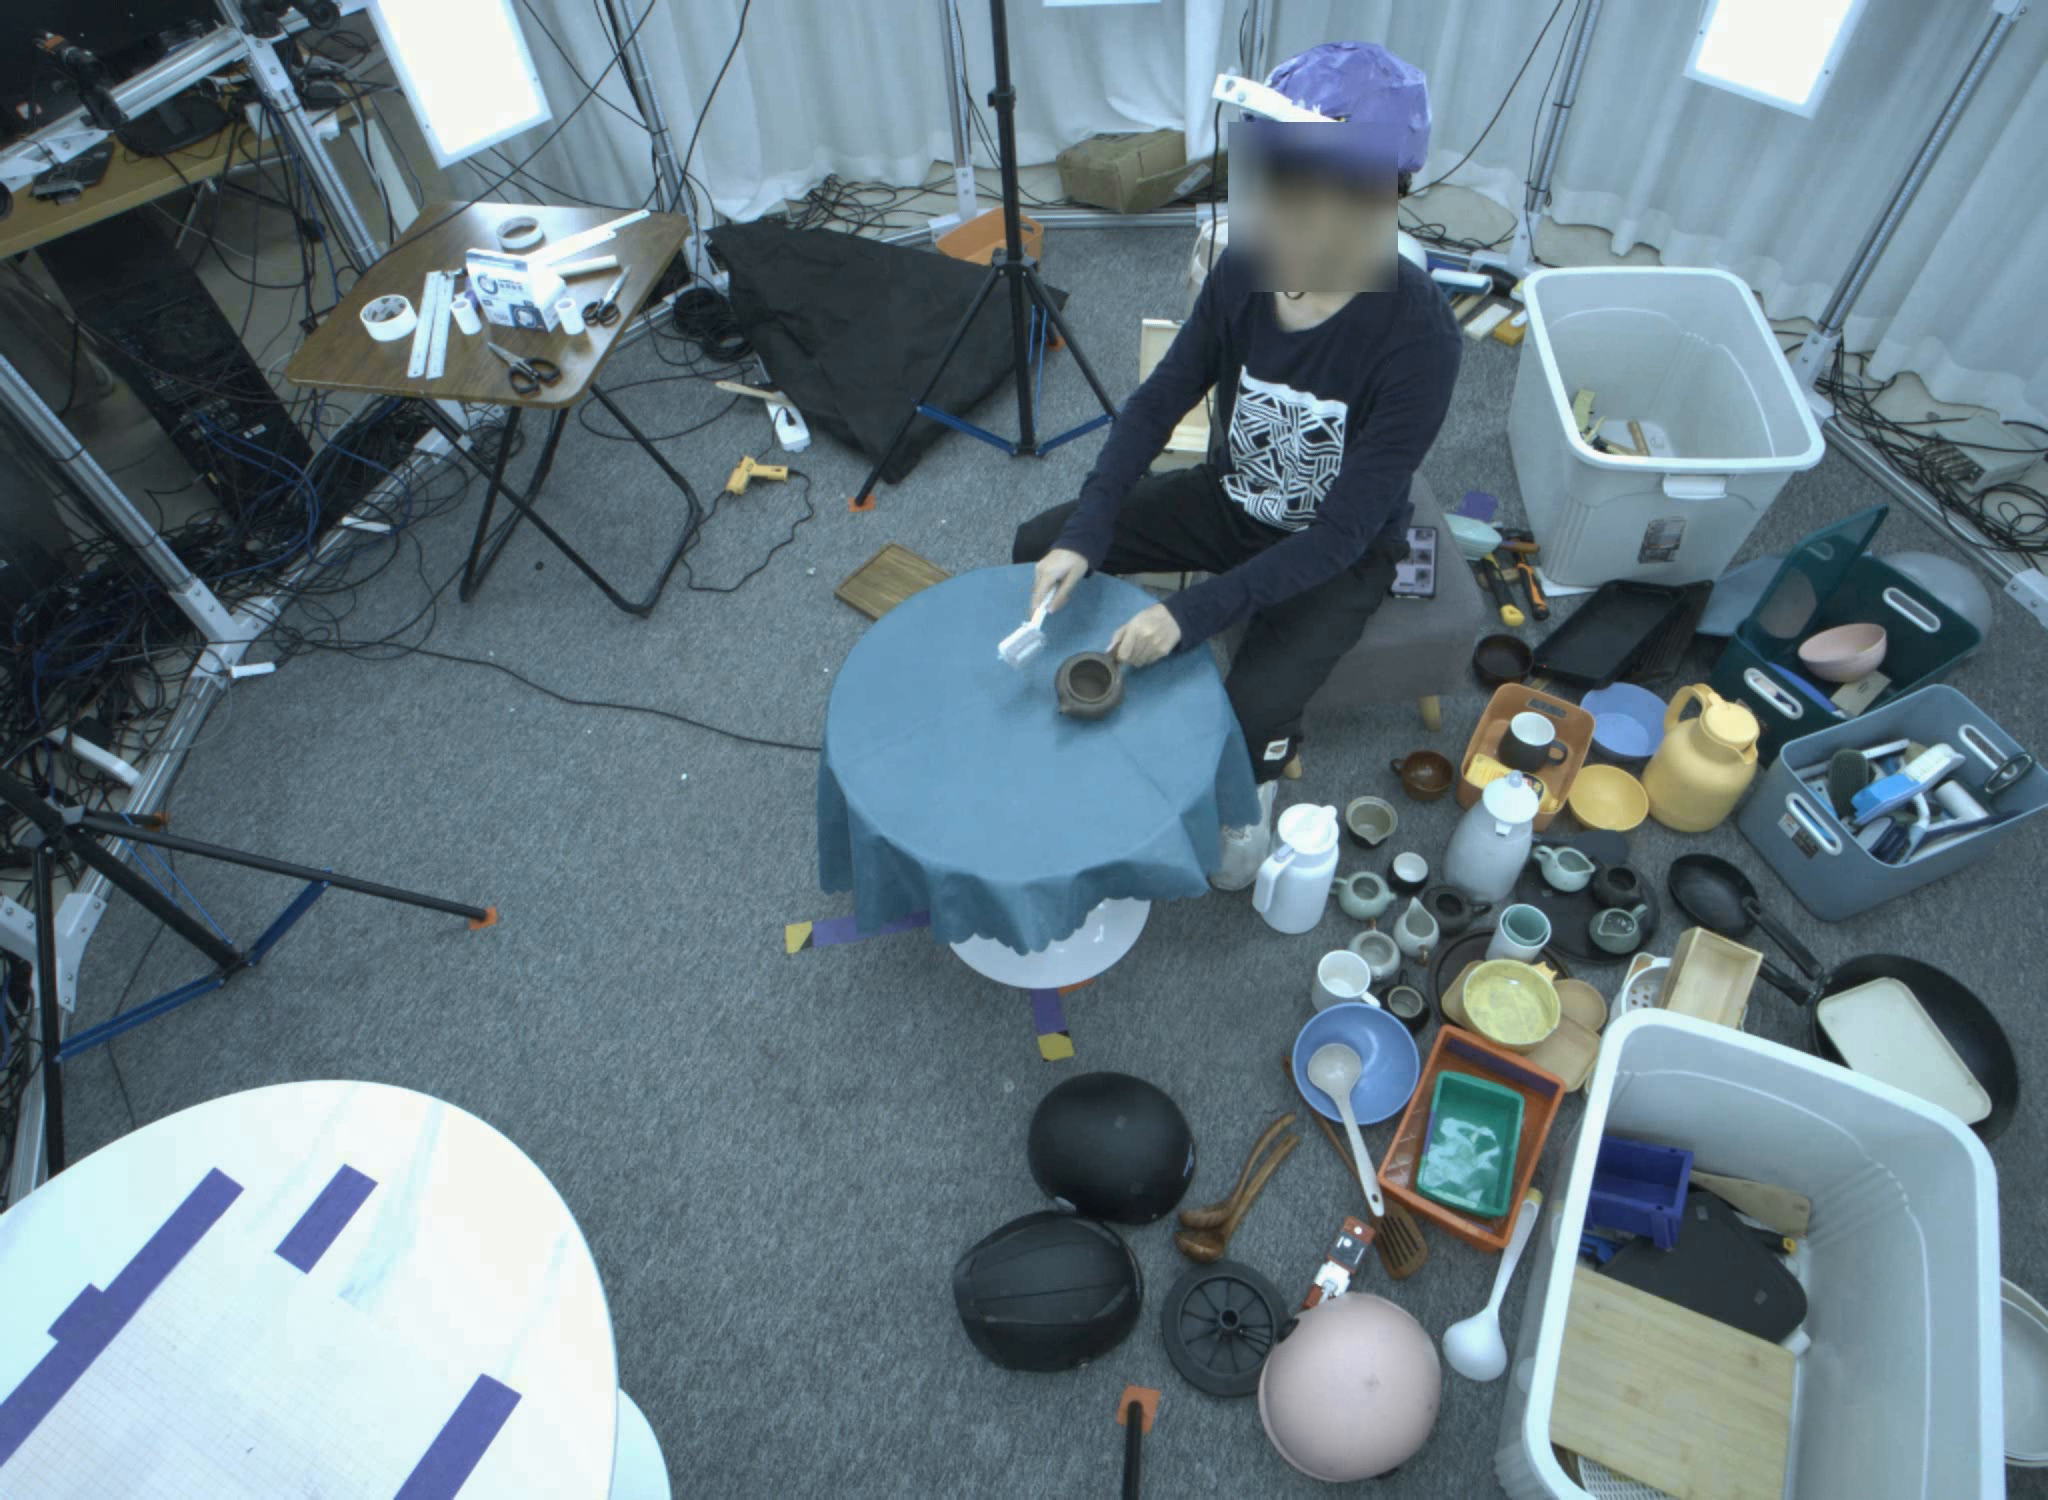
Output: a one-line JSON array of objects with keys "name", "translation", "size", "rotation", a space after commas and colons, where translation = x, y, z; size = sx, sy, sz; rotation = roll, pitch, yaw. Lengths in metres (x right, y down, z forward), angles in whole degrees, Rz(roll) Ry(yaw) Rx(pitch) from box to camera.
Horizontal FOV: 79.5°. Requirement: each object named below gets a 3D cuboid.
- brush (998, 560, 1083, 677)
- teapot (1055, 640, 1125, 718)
[{"name": "brush", "translation": [0.040, -0.202, 1.852], "size": [0.049, 0.035, 0.244], "rotation": [17, 55, 31]}, {"name": "teapot", "translation": [0.099, -0.101, 1.805], "size": [0.102, 0.054, 0.154], "rotation": [33, 75, 9]}]
